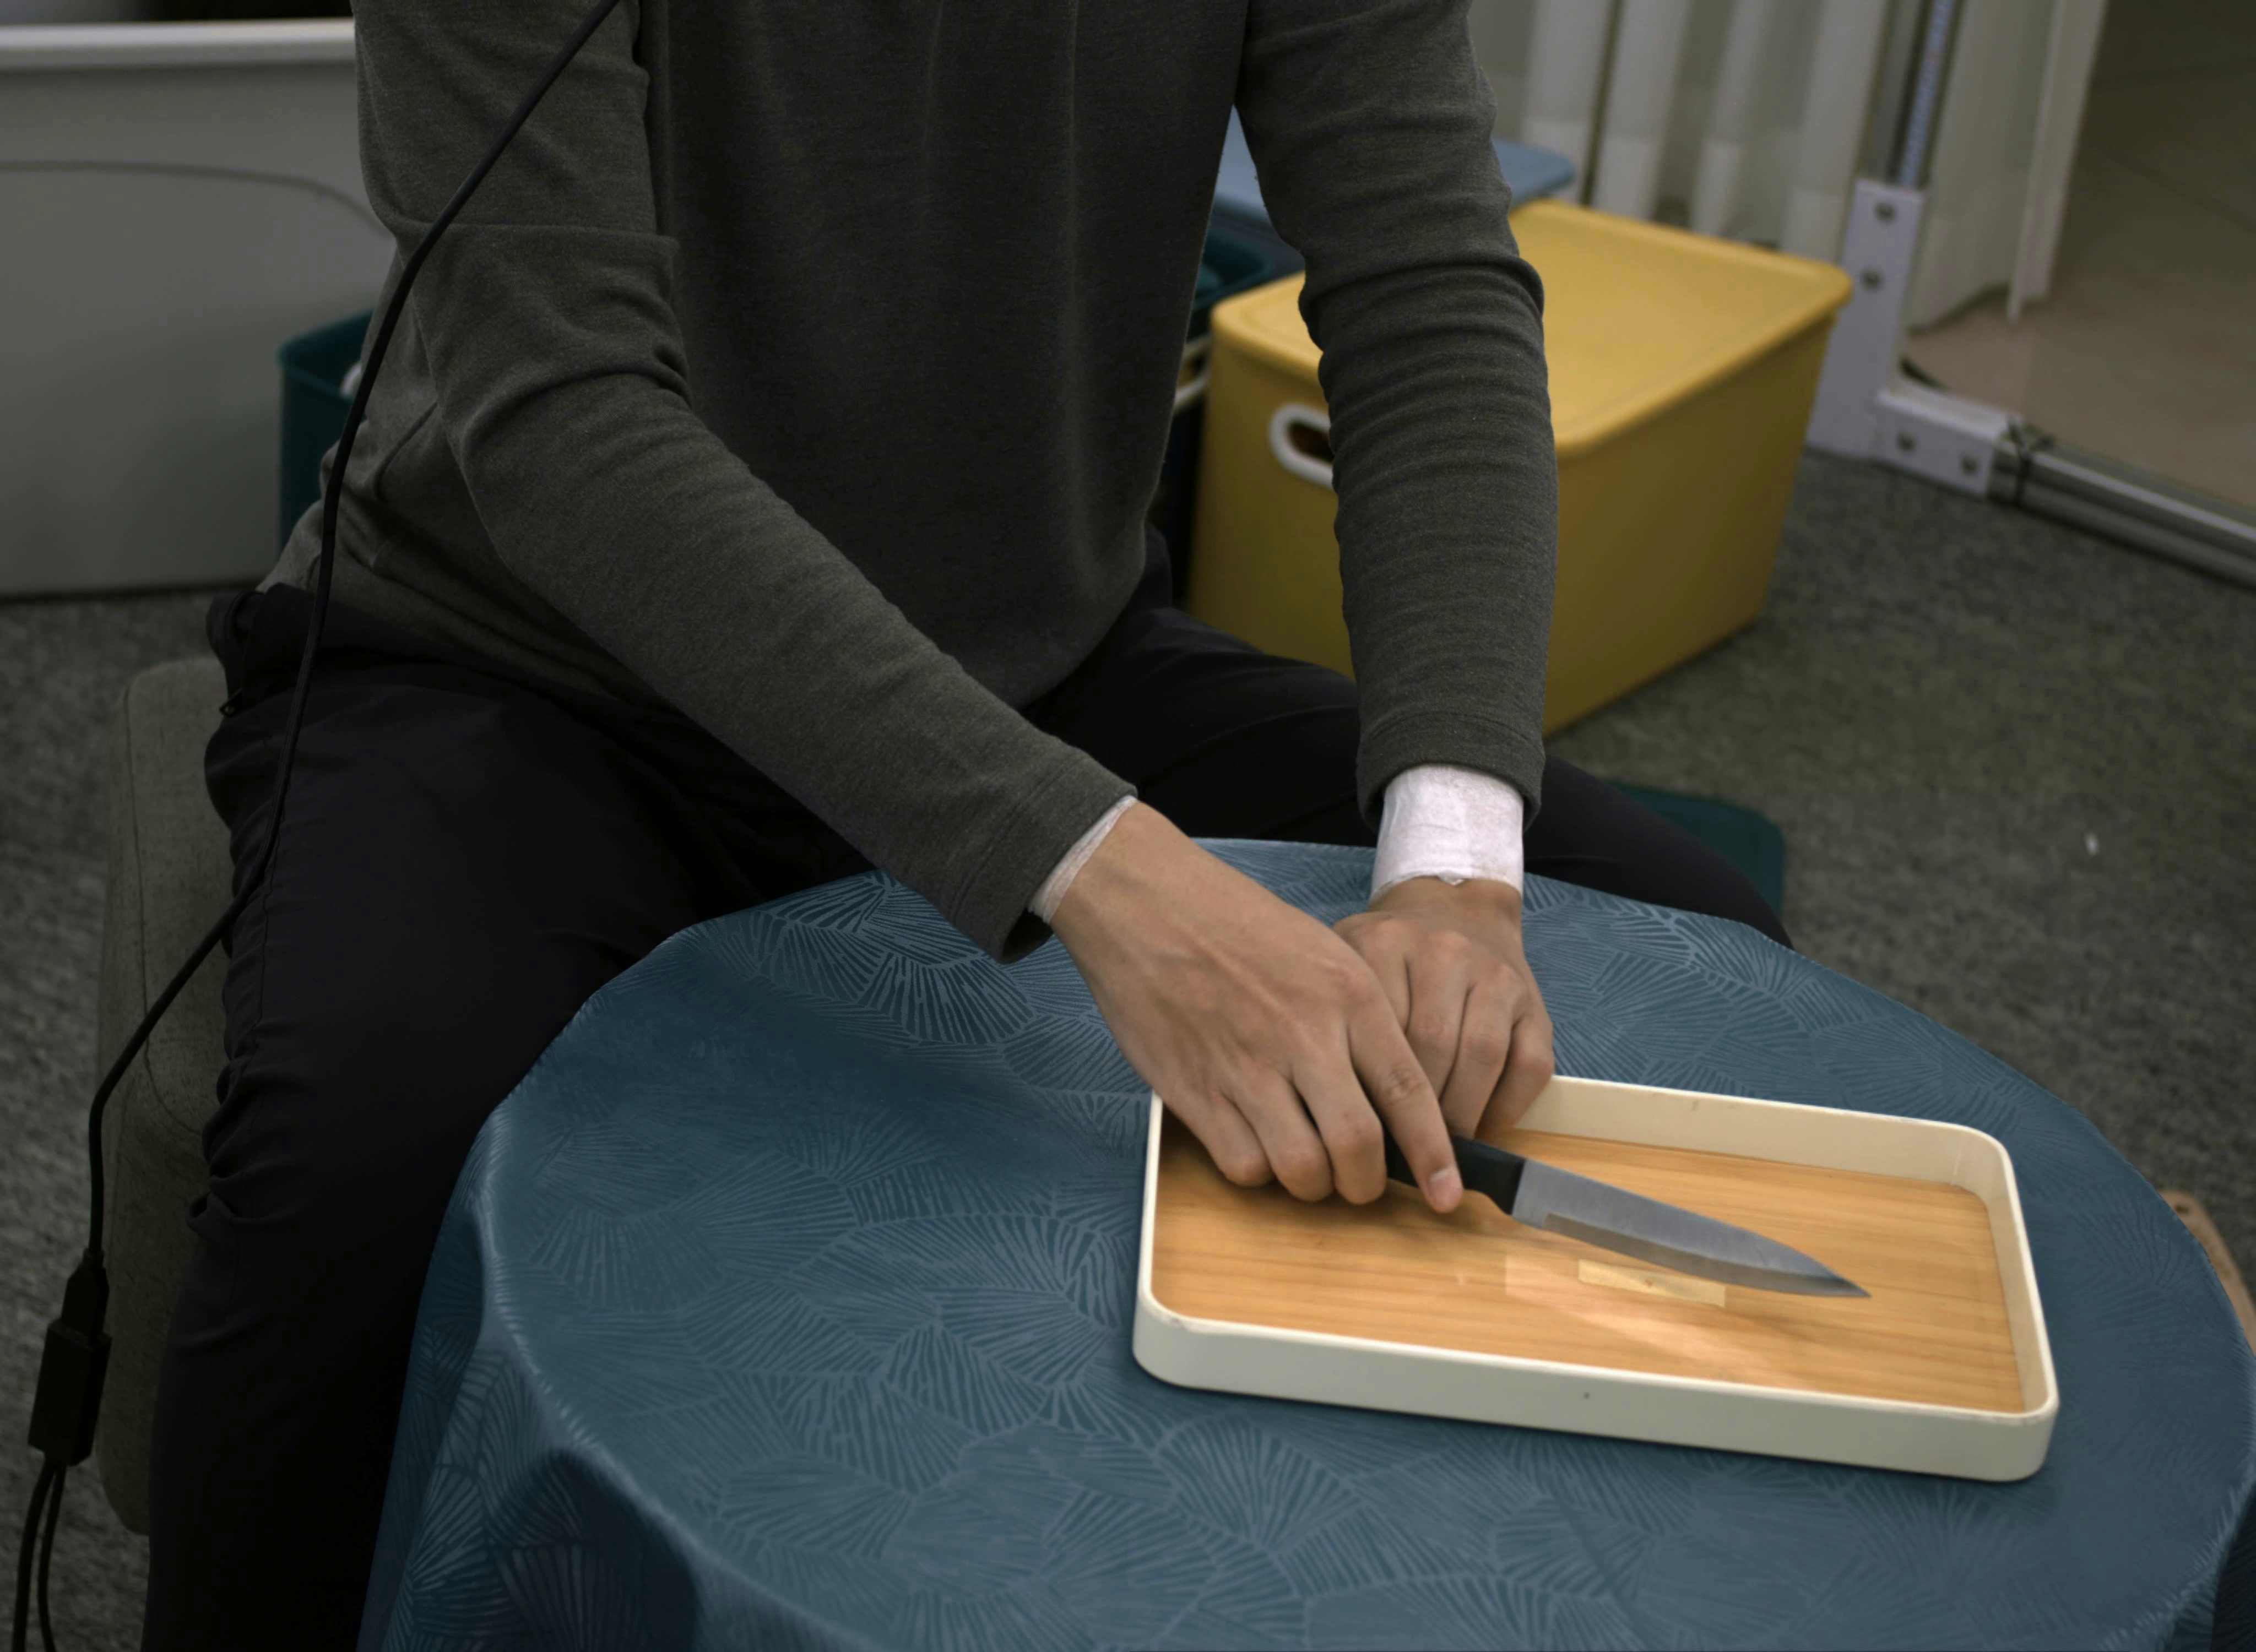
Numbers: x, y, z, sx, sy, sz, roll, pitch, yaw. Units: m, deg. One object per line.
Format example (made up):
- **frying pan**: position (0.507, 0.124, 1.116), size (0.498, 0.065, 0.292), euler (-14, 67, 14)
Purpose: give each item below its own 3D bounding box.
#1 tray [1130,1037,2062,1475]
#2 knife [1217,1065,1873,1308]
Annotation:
- **tray**: position (0.153, 0.142, 1.776), size (0.299, 0.027, 0.192), euler (7, 26, 0)
- **knife**: position (0.139, 0.120, 1.782), size (0.239, 0.024, 0.016), euler (18, 8, 22)
